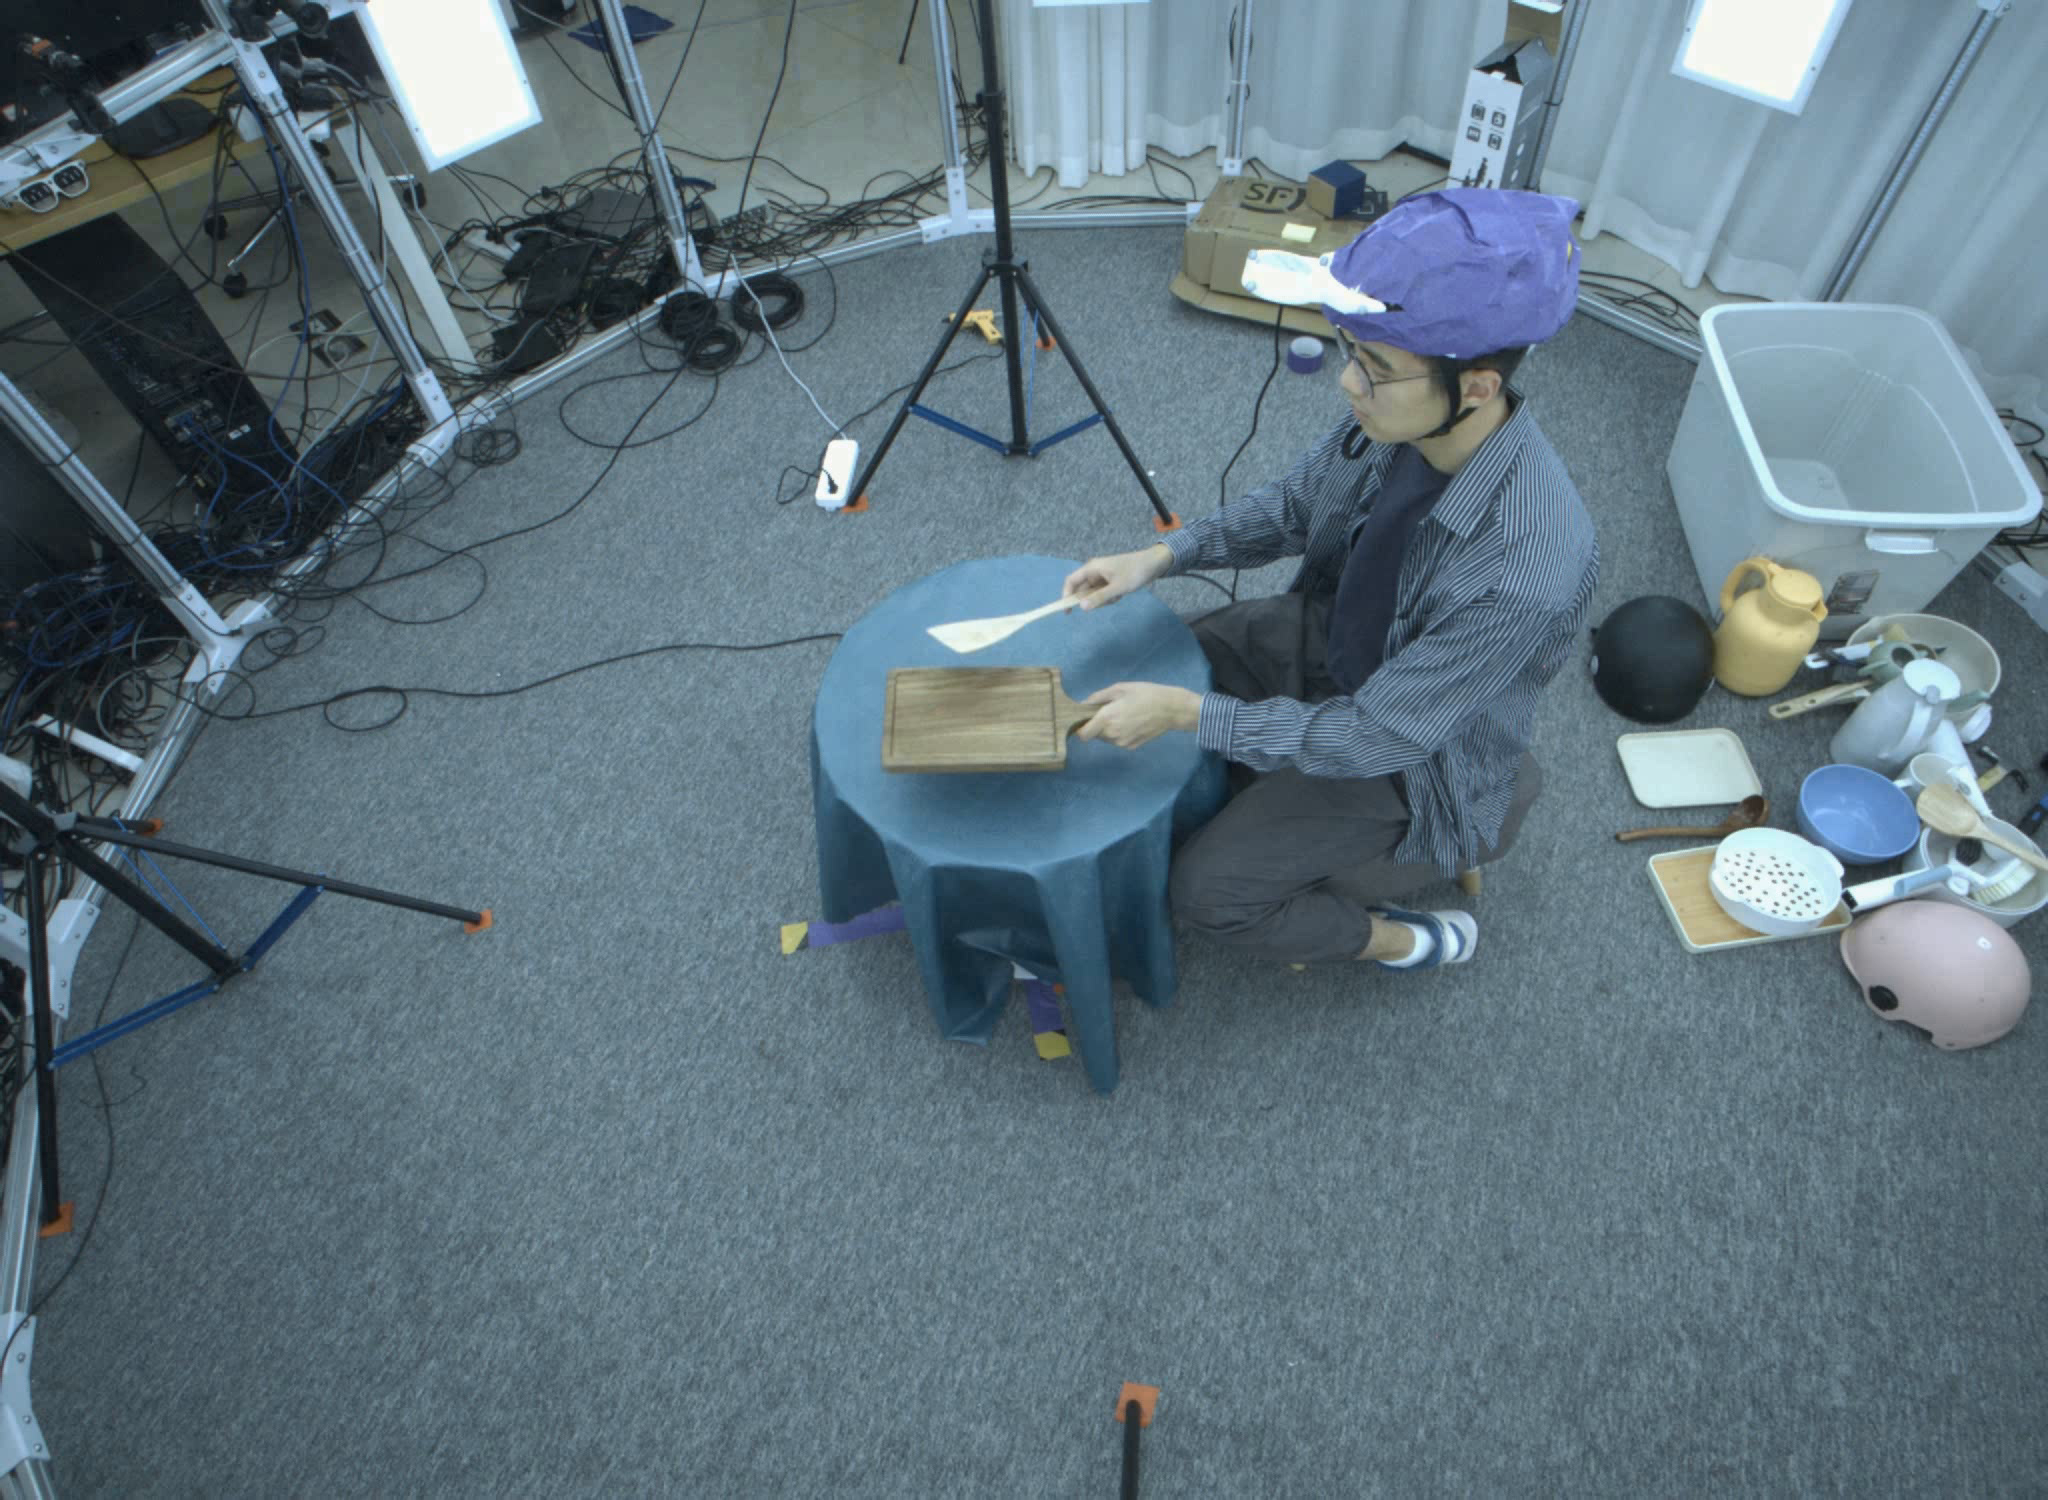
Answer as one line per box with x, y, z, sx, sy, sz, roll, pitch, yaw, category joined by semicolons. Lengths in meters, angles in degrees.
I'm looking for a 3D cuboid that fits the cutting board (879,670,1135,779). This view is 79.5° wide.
-0.021;-0.039;1.706;0.353;0.023;0.198;0;46;-3;cutting board

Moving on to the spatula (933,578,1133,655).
0.026;-0.200;1.778;0.332;0.017;0.078;-23;45;-27;spatula
